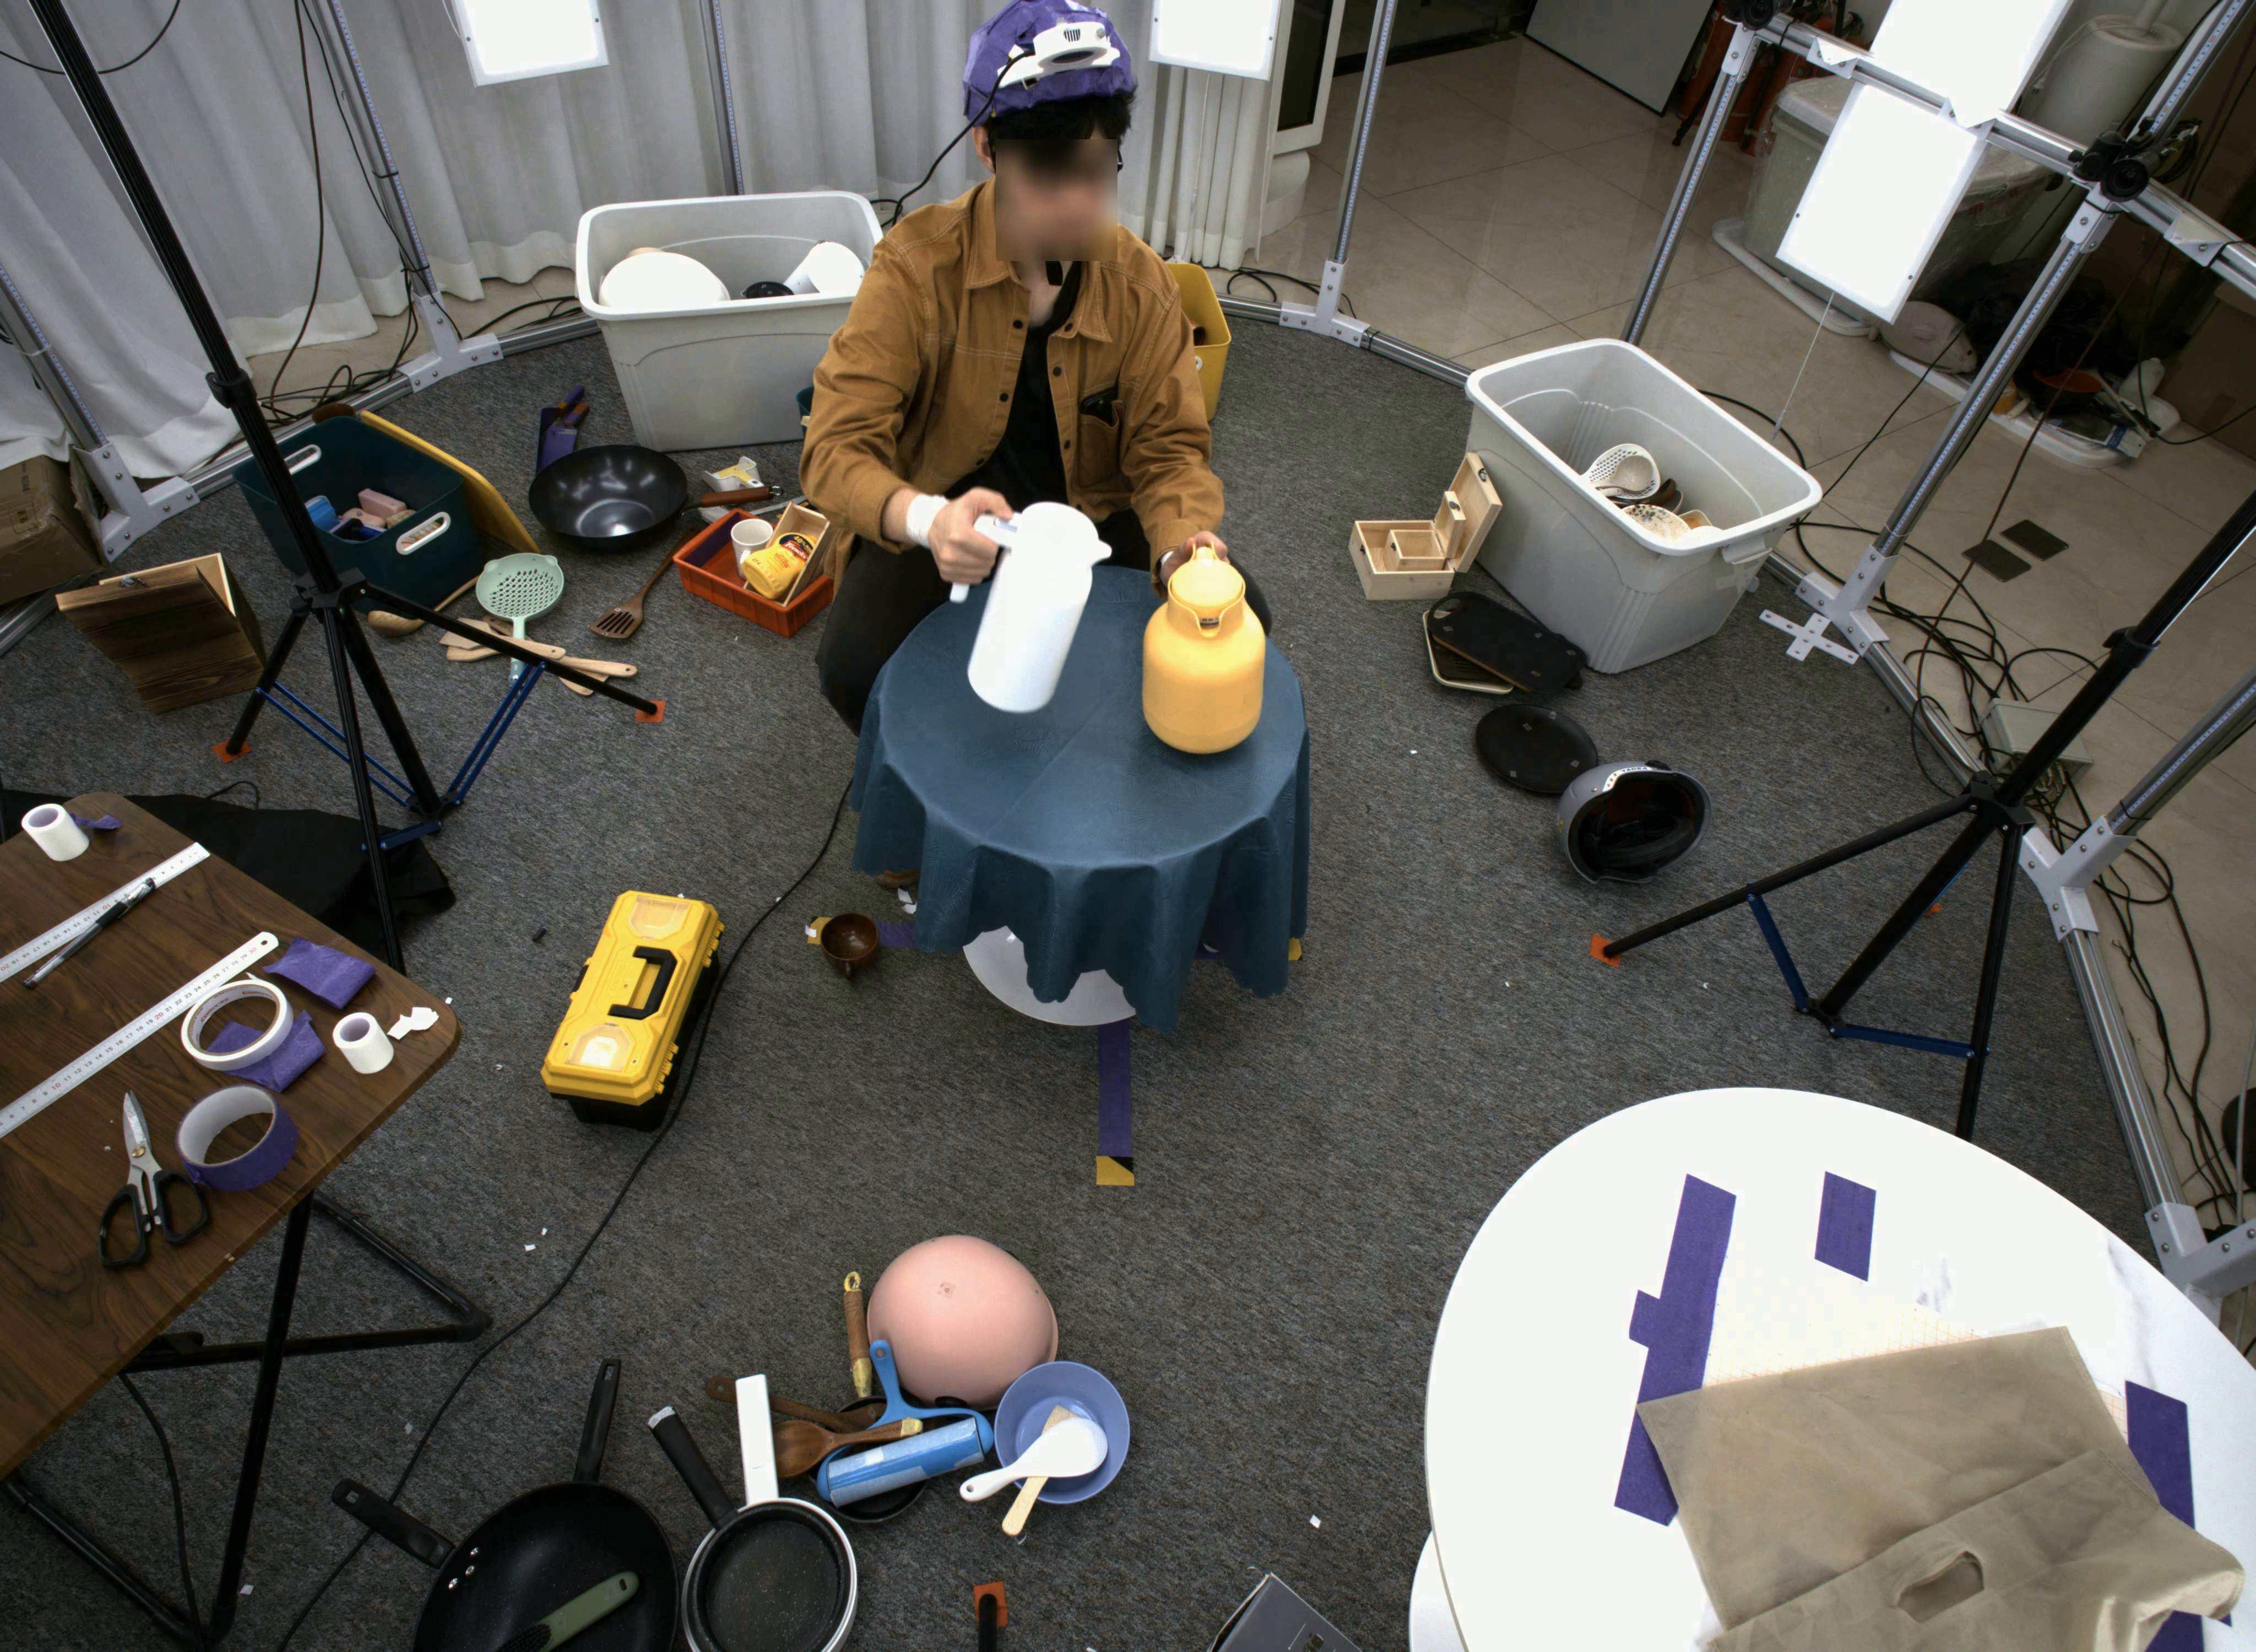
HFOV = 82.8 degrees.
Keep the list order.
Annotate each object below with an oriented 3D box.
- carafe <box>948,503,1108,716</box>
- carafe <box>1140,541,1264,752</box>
[{"bbox_3d":[-0.137,-0.267,1.600,0.172,0.263,0.127,15,51,-7],"label":"carafe"},{"bbox_3d":[0.100,-0.243,1.696,0.163,0.254,0.207,3,52,1],"label":"carafe"}]
